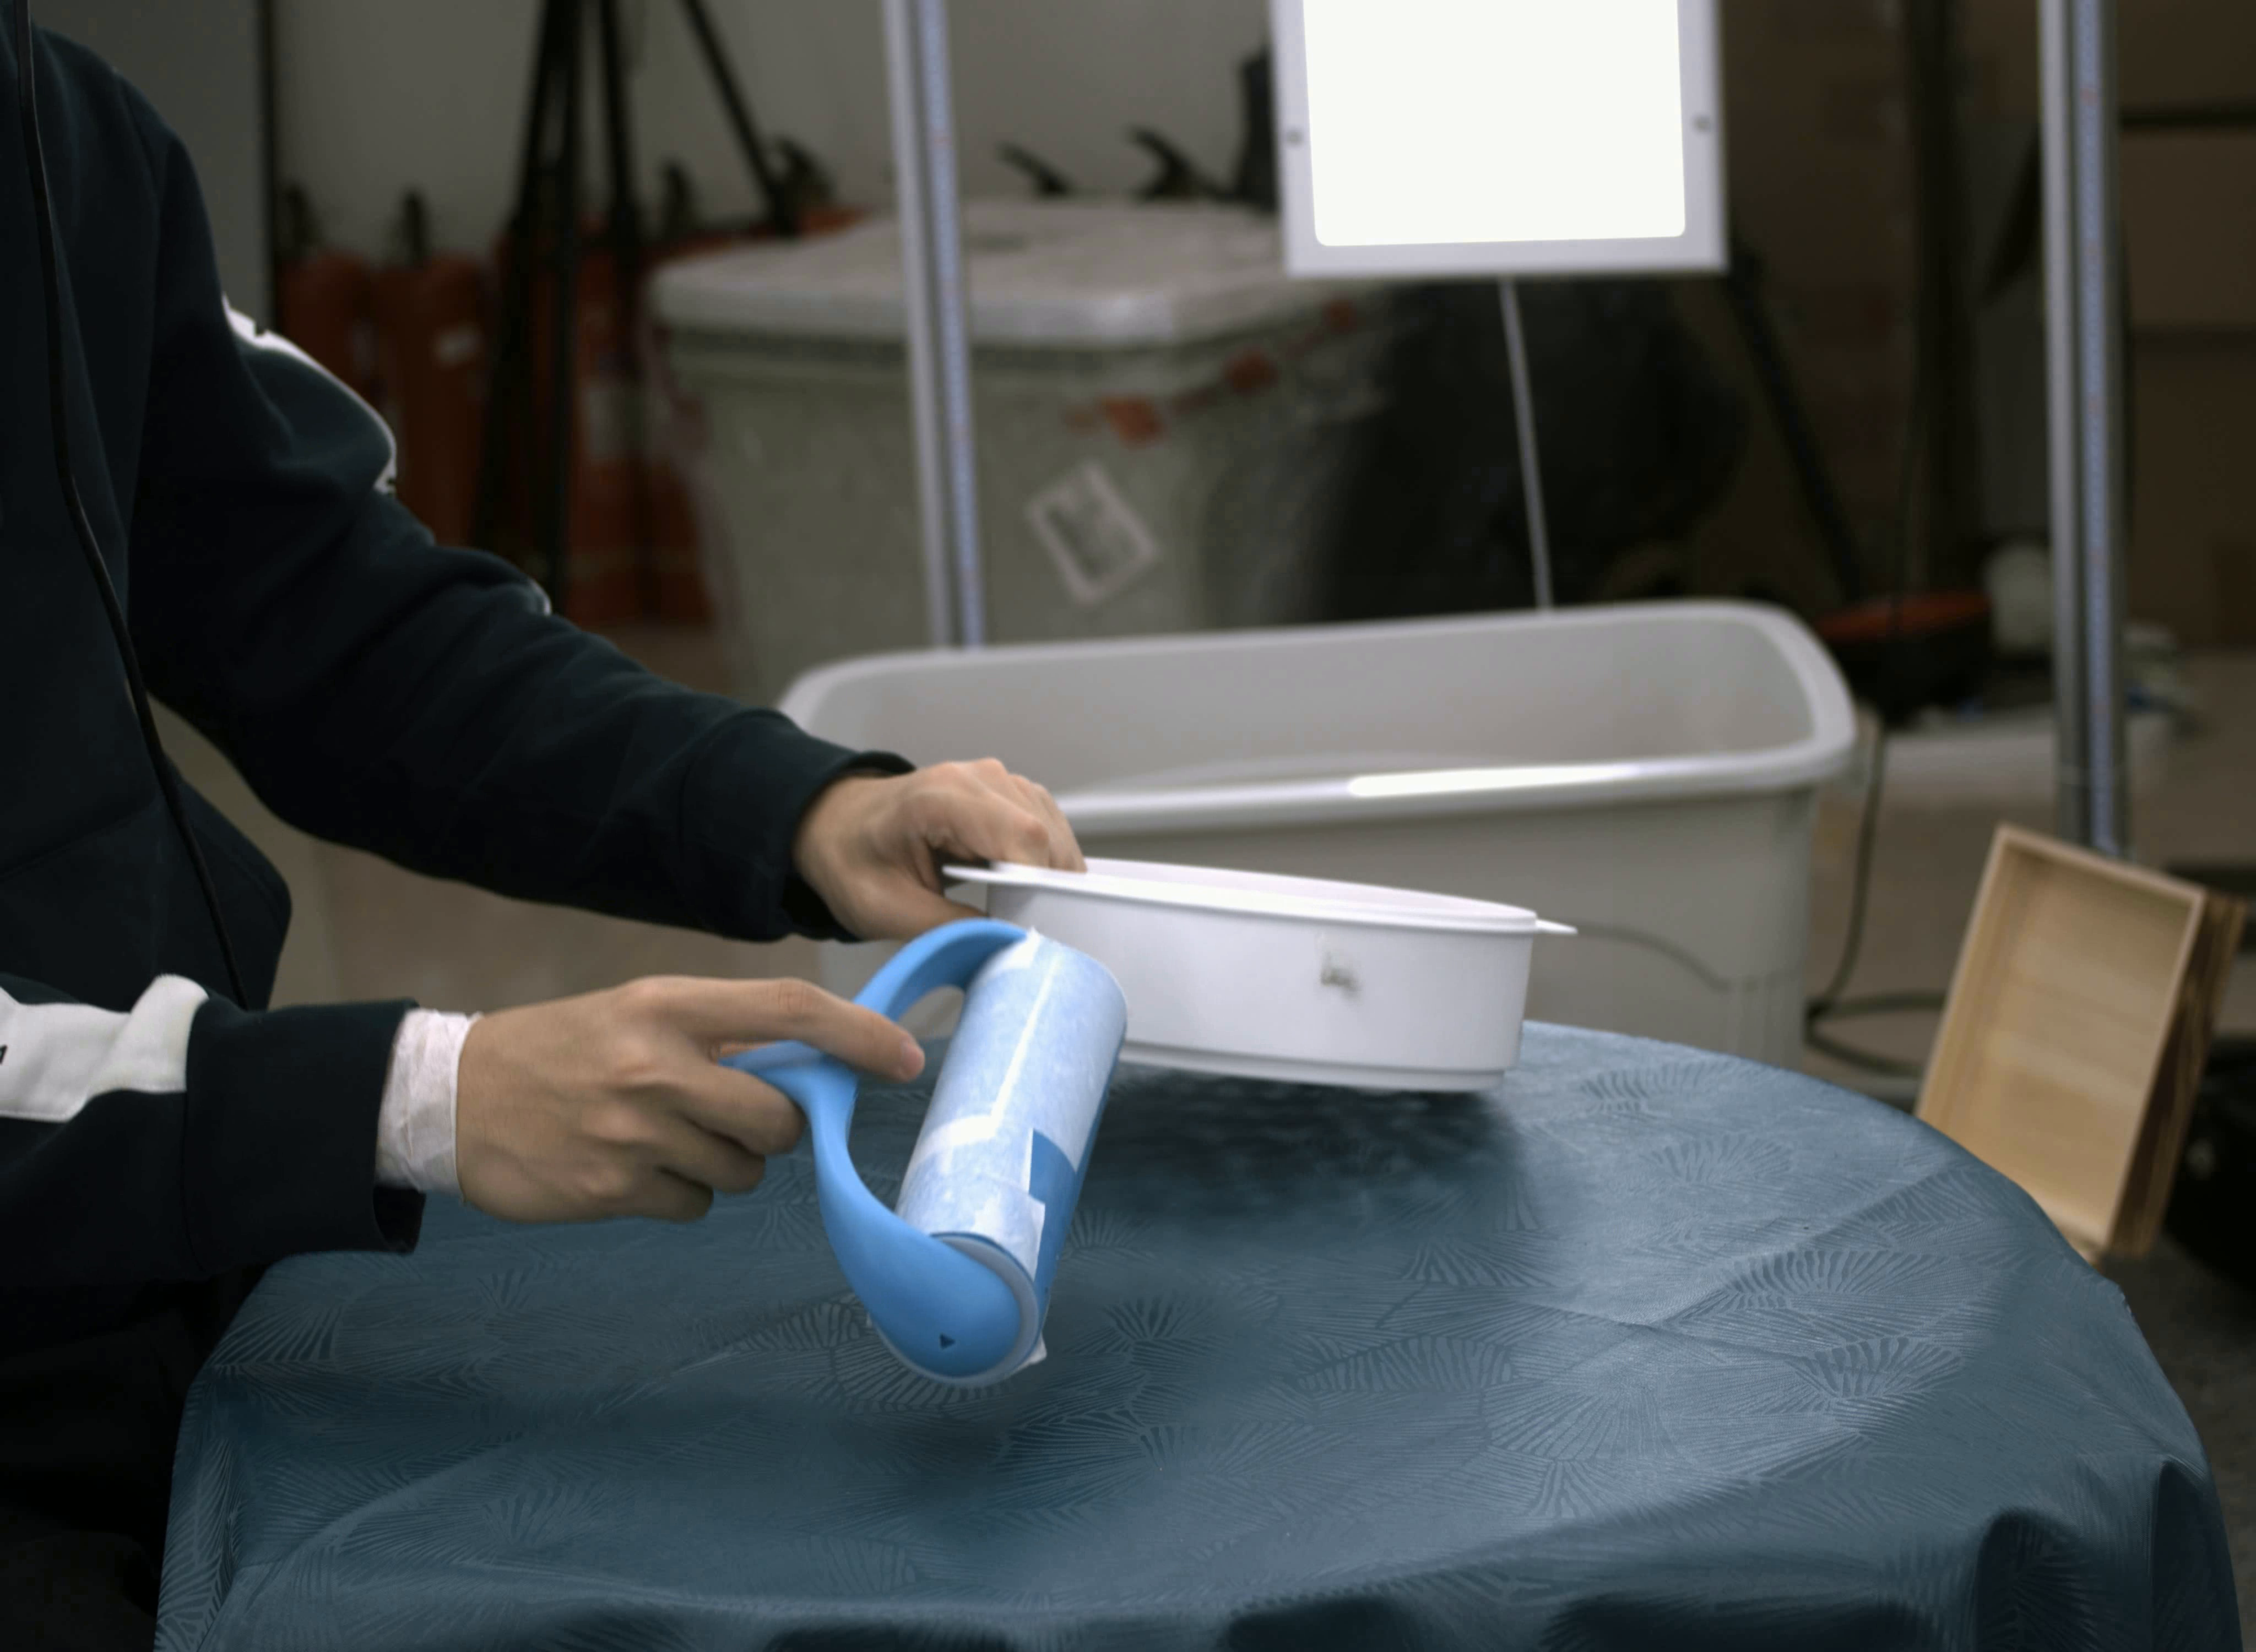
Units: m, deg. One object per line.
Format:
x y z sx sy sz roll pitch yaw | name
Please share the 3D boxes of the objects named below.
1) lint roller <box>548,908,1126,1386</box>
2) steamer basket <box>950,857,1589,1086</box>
-0.095 0.098 1.728 0.180 0.068 0.227 1 29 4 | lint roller
0.049 0.052 1.951 0.227 0.069 0.204 5 0 -13 | steamer basket
